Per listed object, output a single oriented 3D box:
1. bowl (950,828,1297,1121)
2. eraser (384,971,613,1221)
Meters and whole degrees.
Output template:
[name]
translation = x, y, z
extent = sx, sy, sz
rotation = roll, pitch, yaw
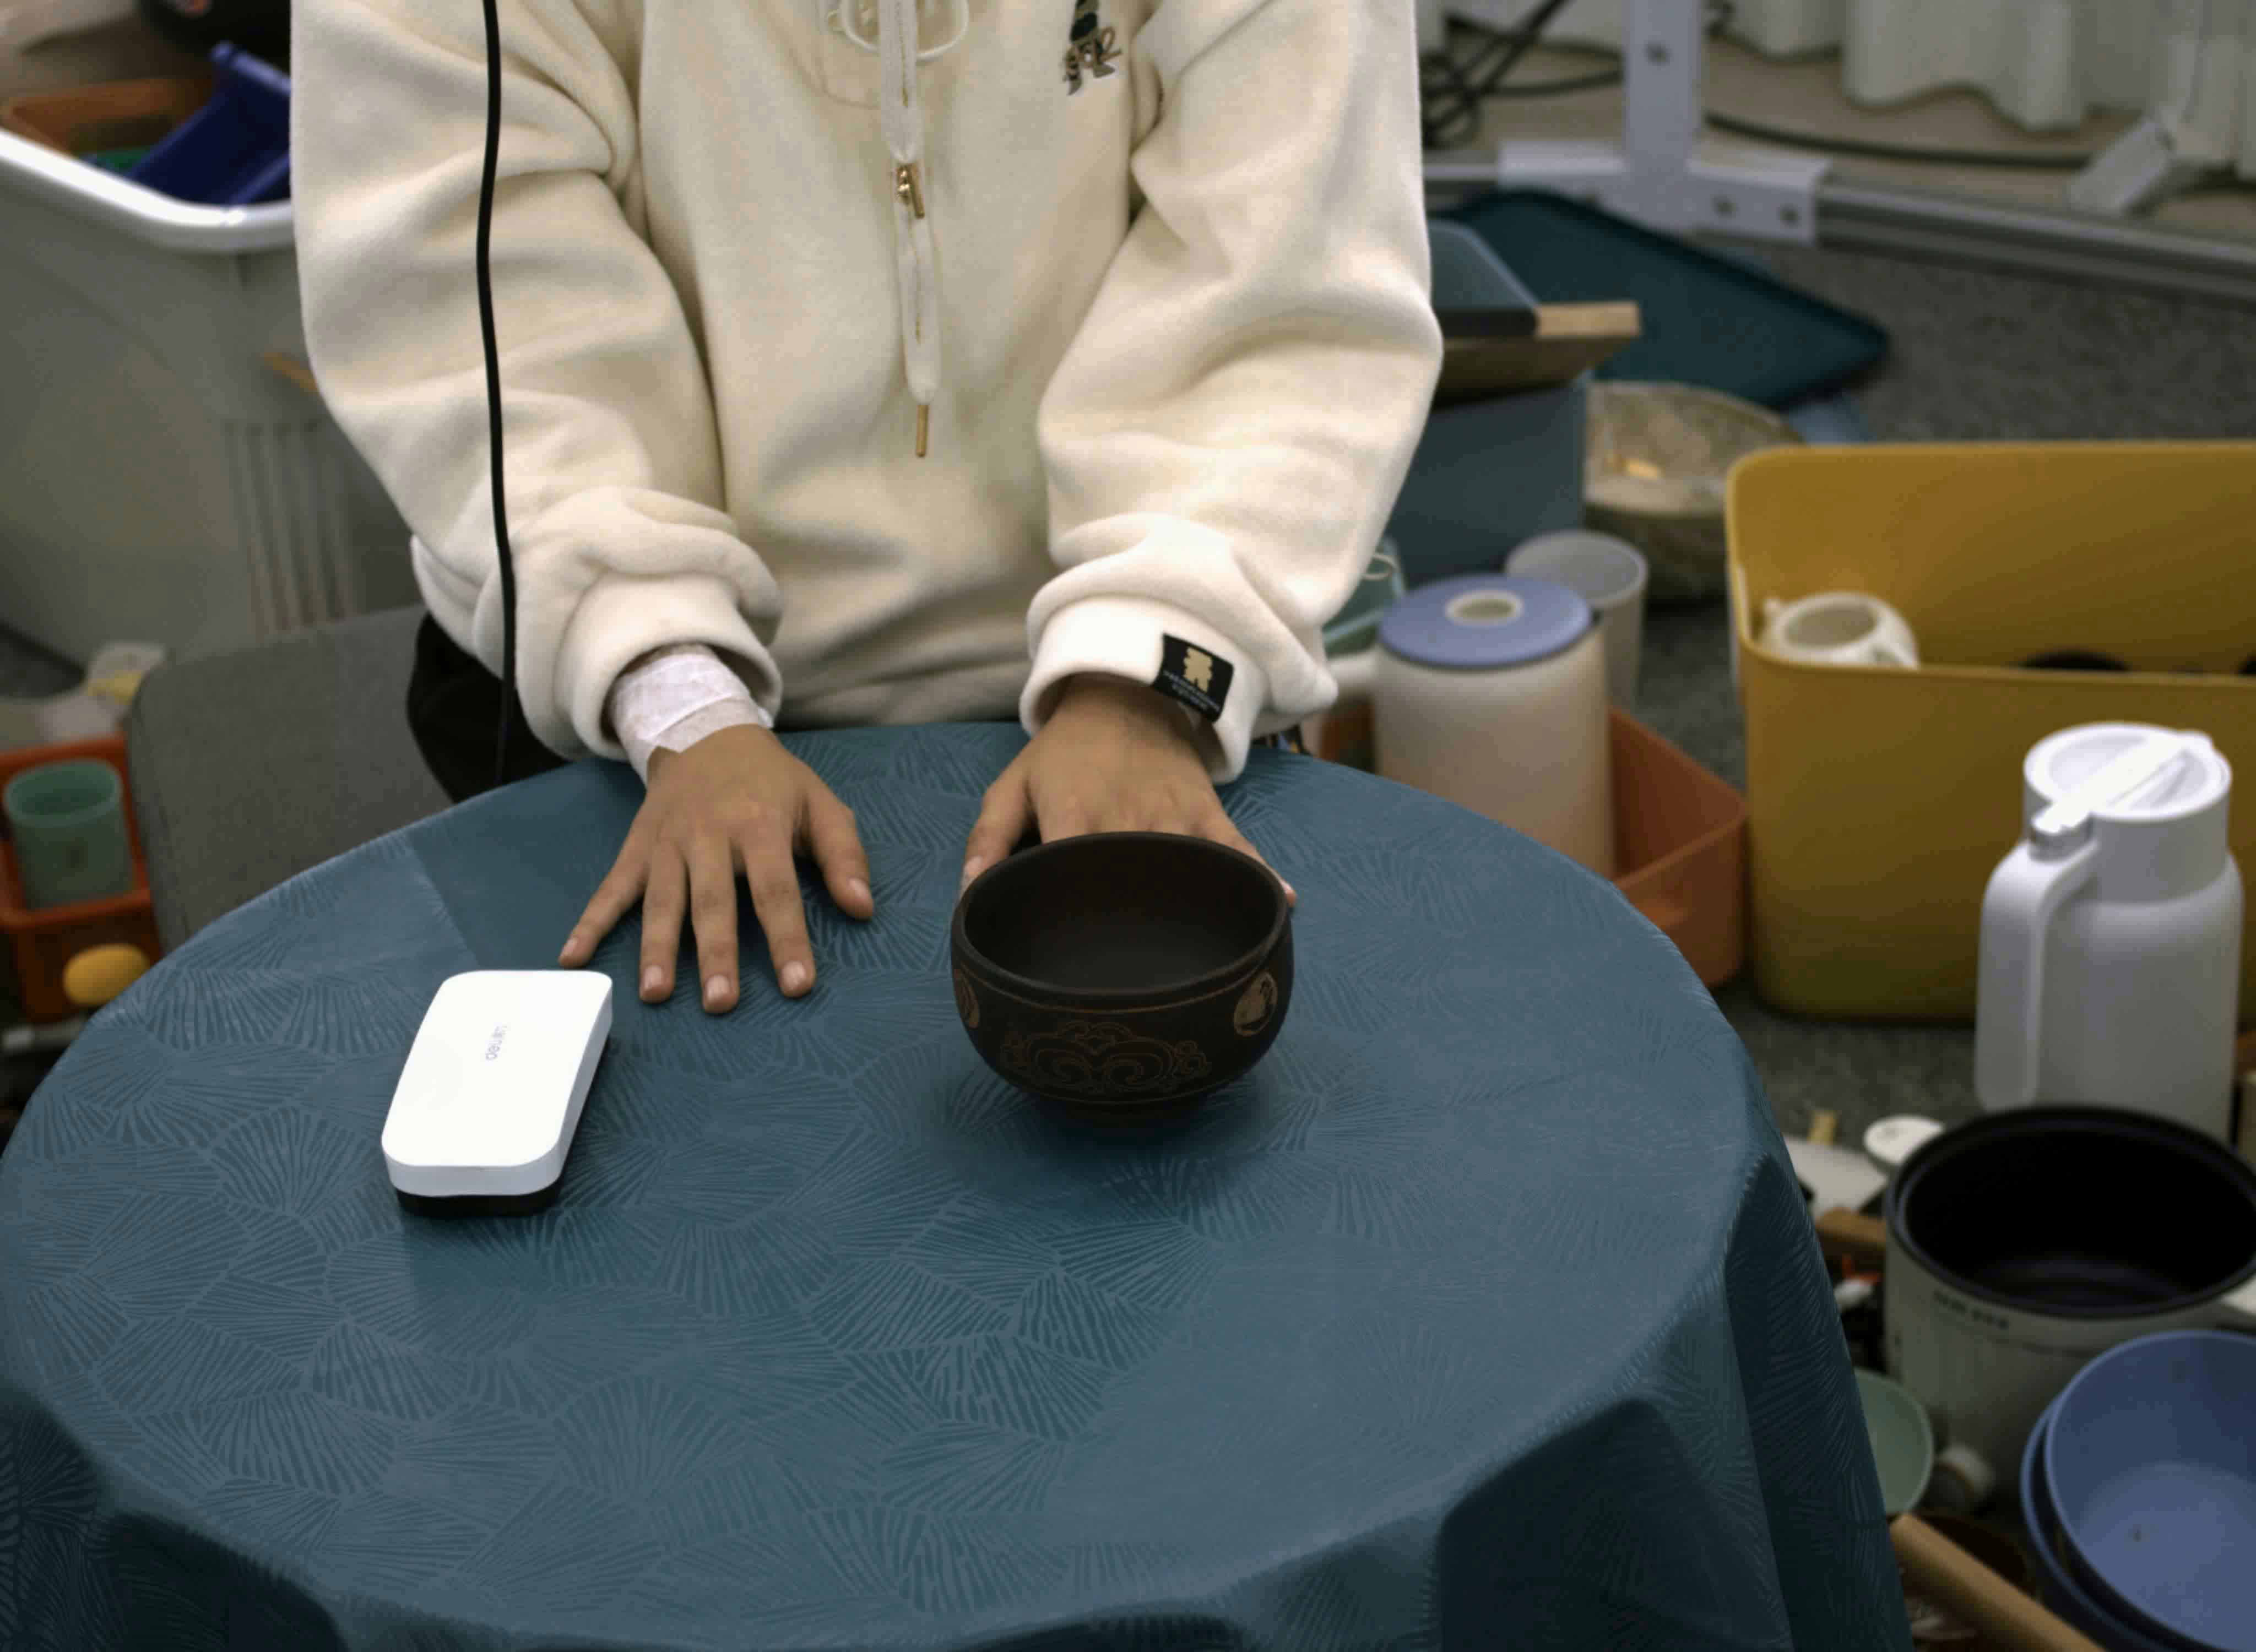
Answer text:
[bowl]
translation = -0.001, 0.057, 1.909
extent = 0.117, 0.069, 0.120
rotation = -1, 26, 1
[eraser]
translation = -0.212, 0.089, 1.914
extent = 0.063, 0.034, 0.133
rotation = 0, 28, 6
